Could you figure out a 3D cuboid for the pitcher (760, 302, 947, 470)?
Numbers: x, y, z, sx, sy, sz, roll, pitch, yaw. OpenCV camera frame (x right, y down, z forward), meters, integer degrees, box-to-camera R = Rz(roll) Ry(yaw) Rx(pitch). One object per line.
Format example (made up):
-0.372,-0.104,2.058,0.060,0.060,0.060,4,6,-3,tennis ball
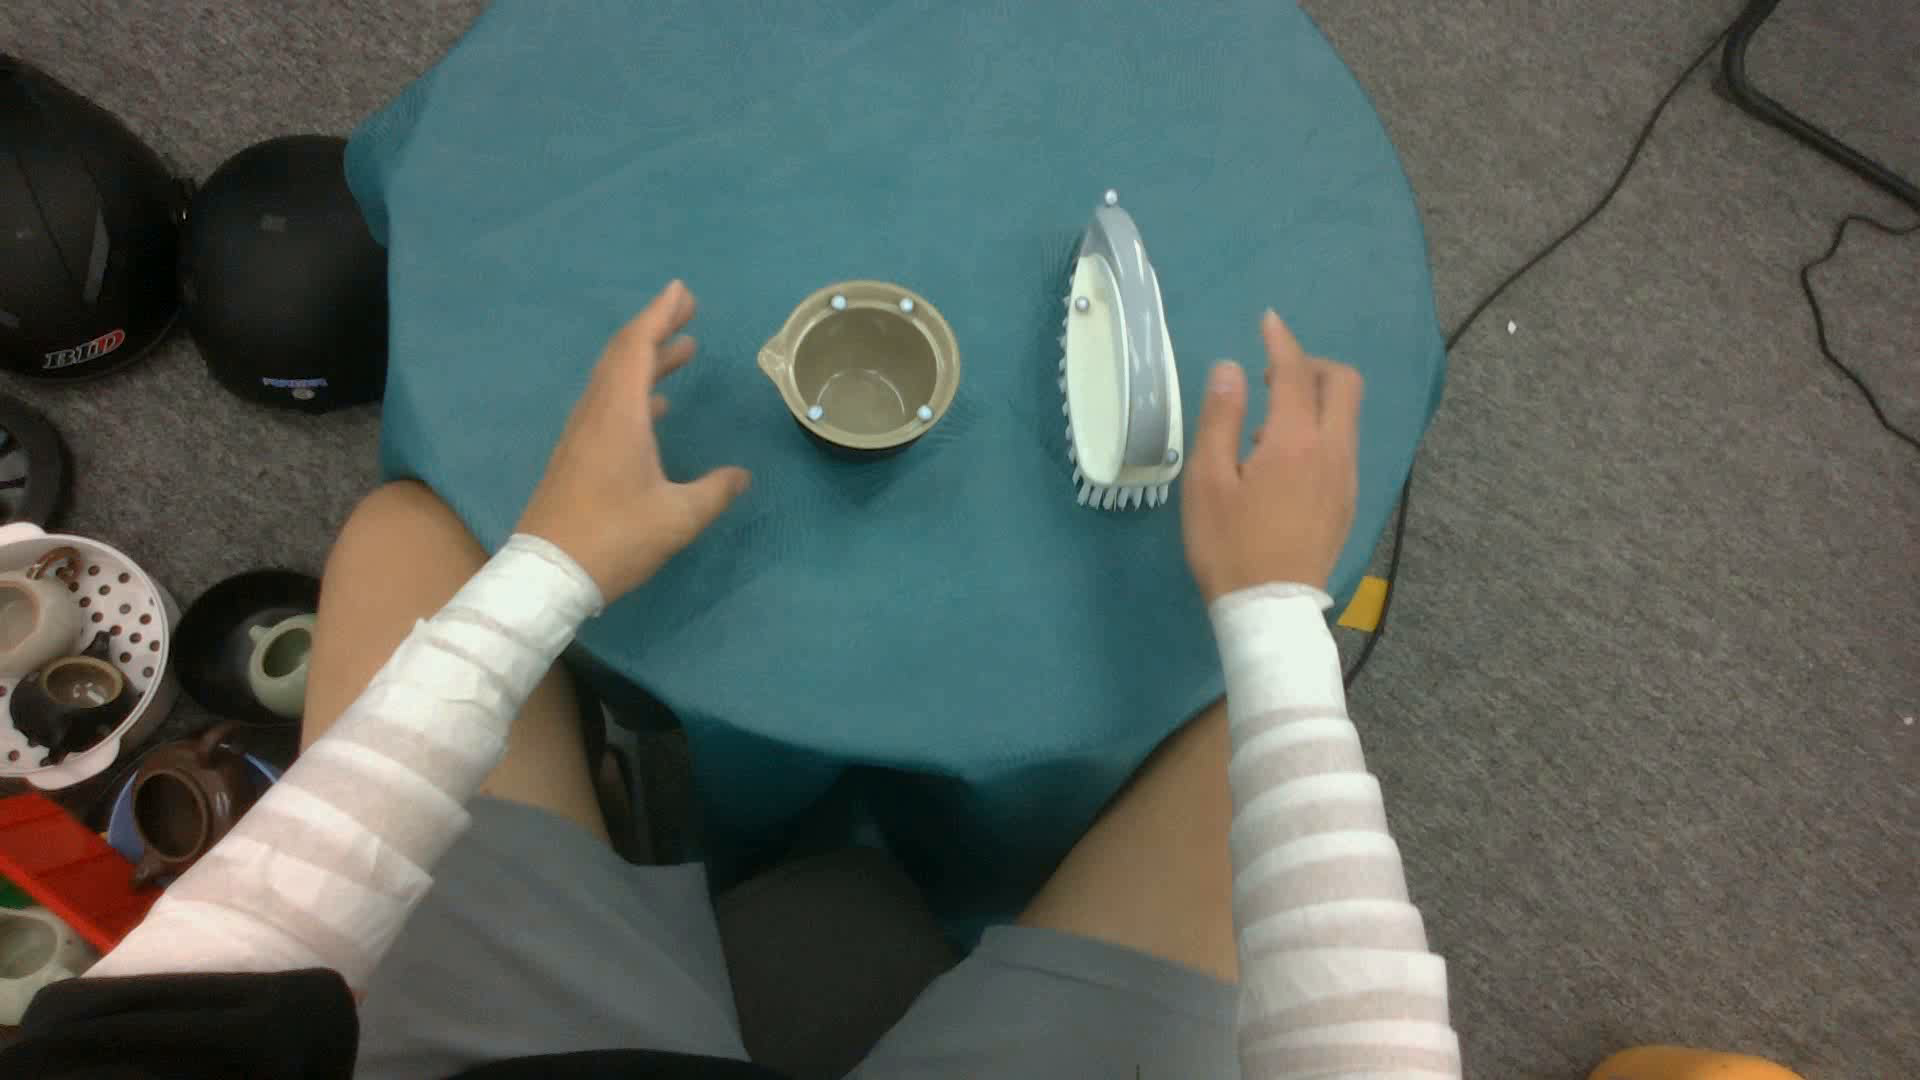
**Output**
-0.055,-0.076,0.733,0.096,0.071,0.084,-3,74,-4,pitcher

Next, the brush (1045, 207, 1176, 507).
0.082,-0.114,0.751,0.061,0.094,0.176,-3,70,-10,brush
